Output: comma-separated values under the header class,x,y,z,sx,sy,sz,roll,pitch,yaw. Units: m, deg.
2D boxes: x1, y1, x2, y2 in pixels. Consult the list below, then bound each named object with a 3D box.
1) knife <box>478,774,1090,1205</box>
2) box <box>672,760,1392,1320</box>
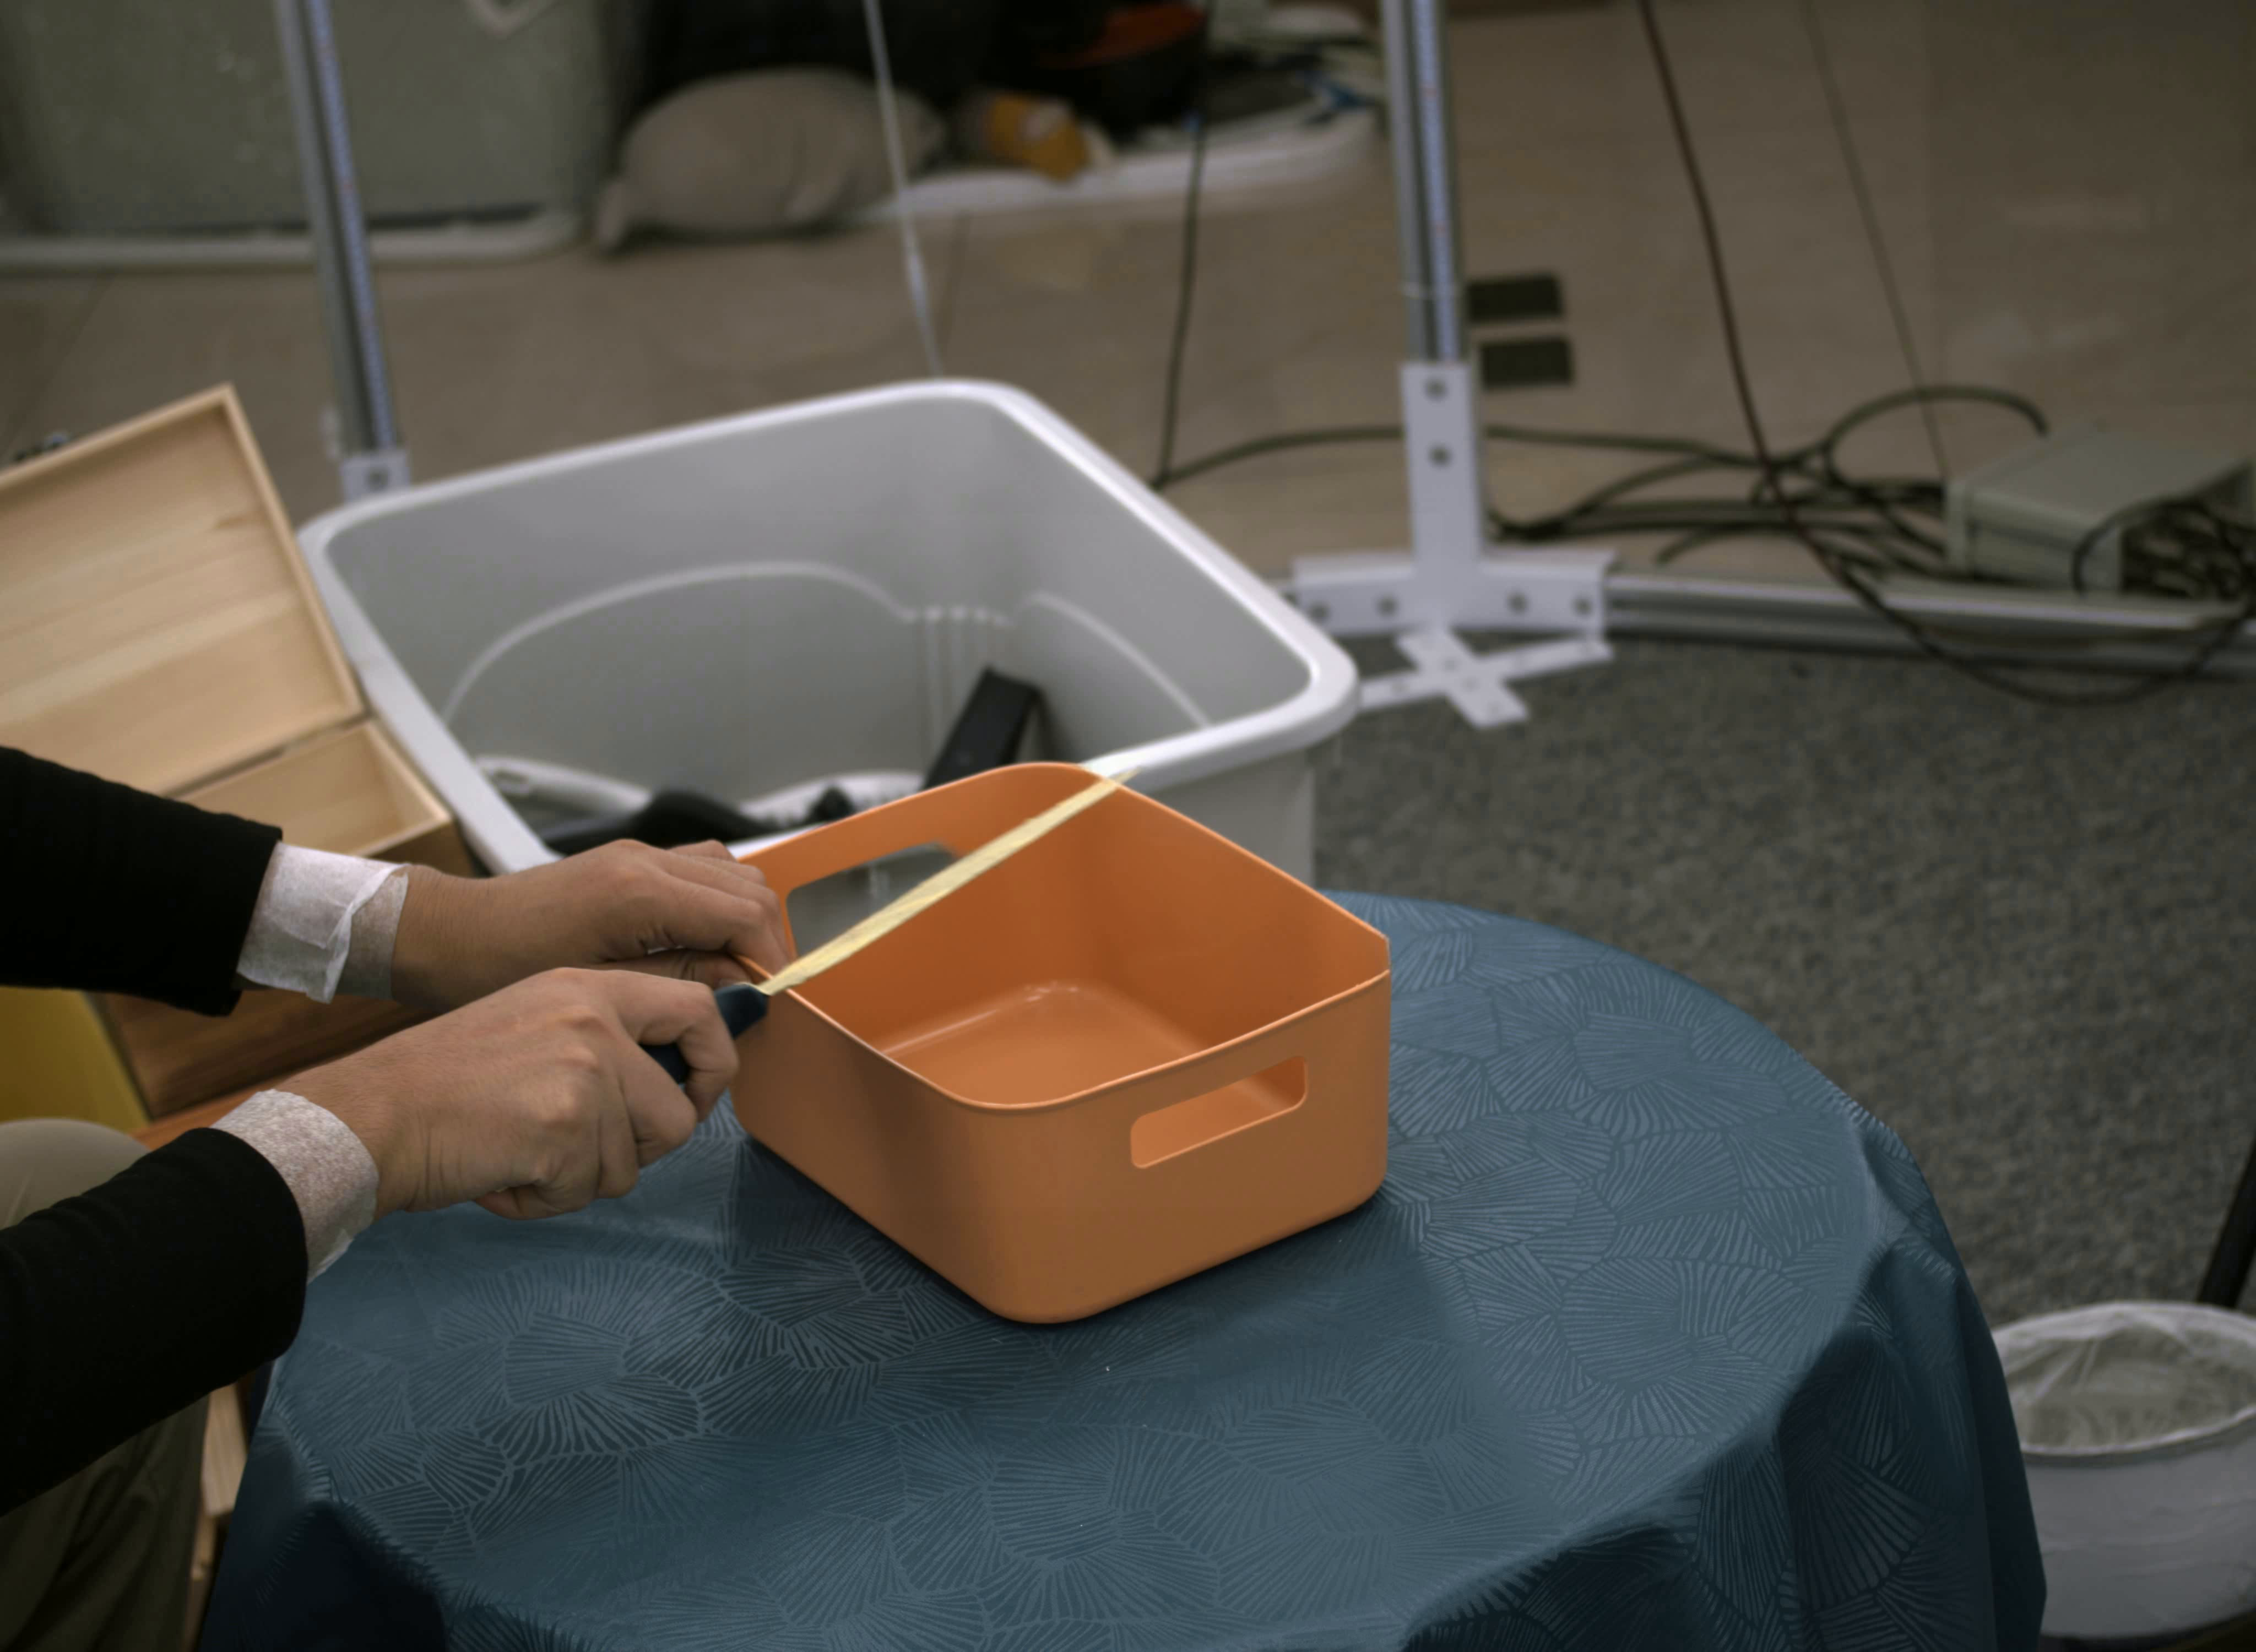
class,x,y,z,sx,sy,sz,roll,pitch,yaw
knife,-0.116,0.052,2.027,0.287,0.027,0.081,-35,4,-31
box,-0.036,0.081,2.157,0.198,0.104,0.270,-19,28,-27
